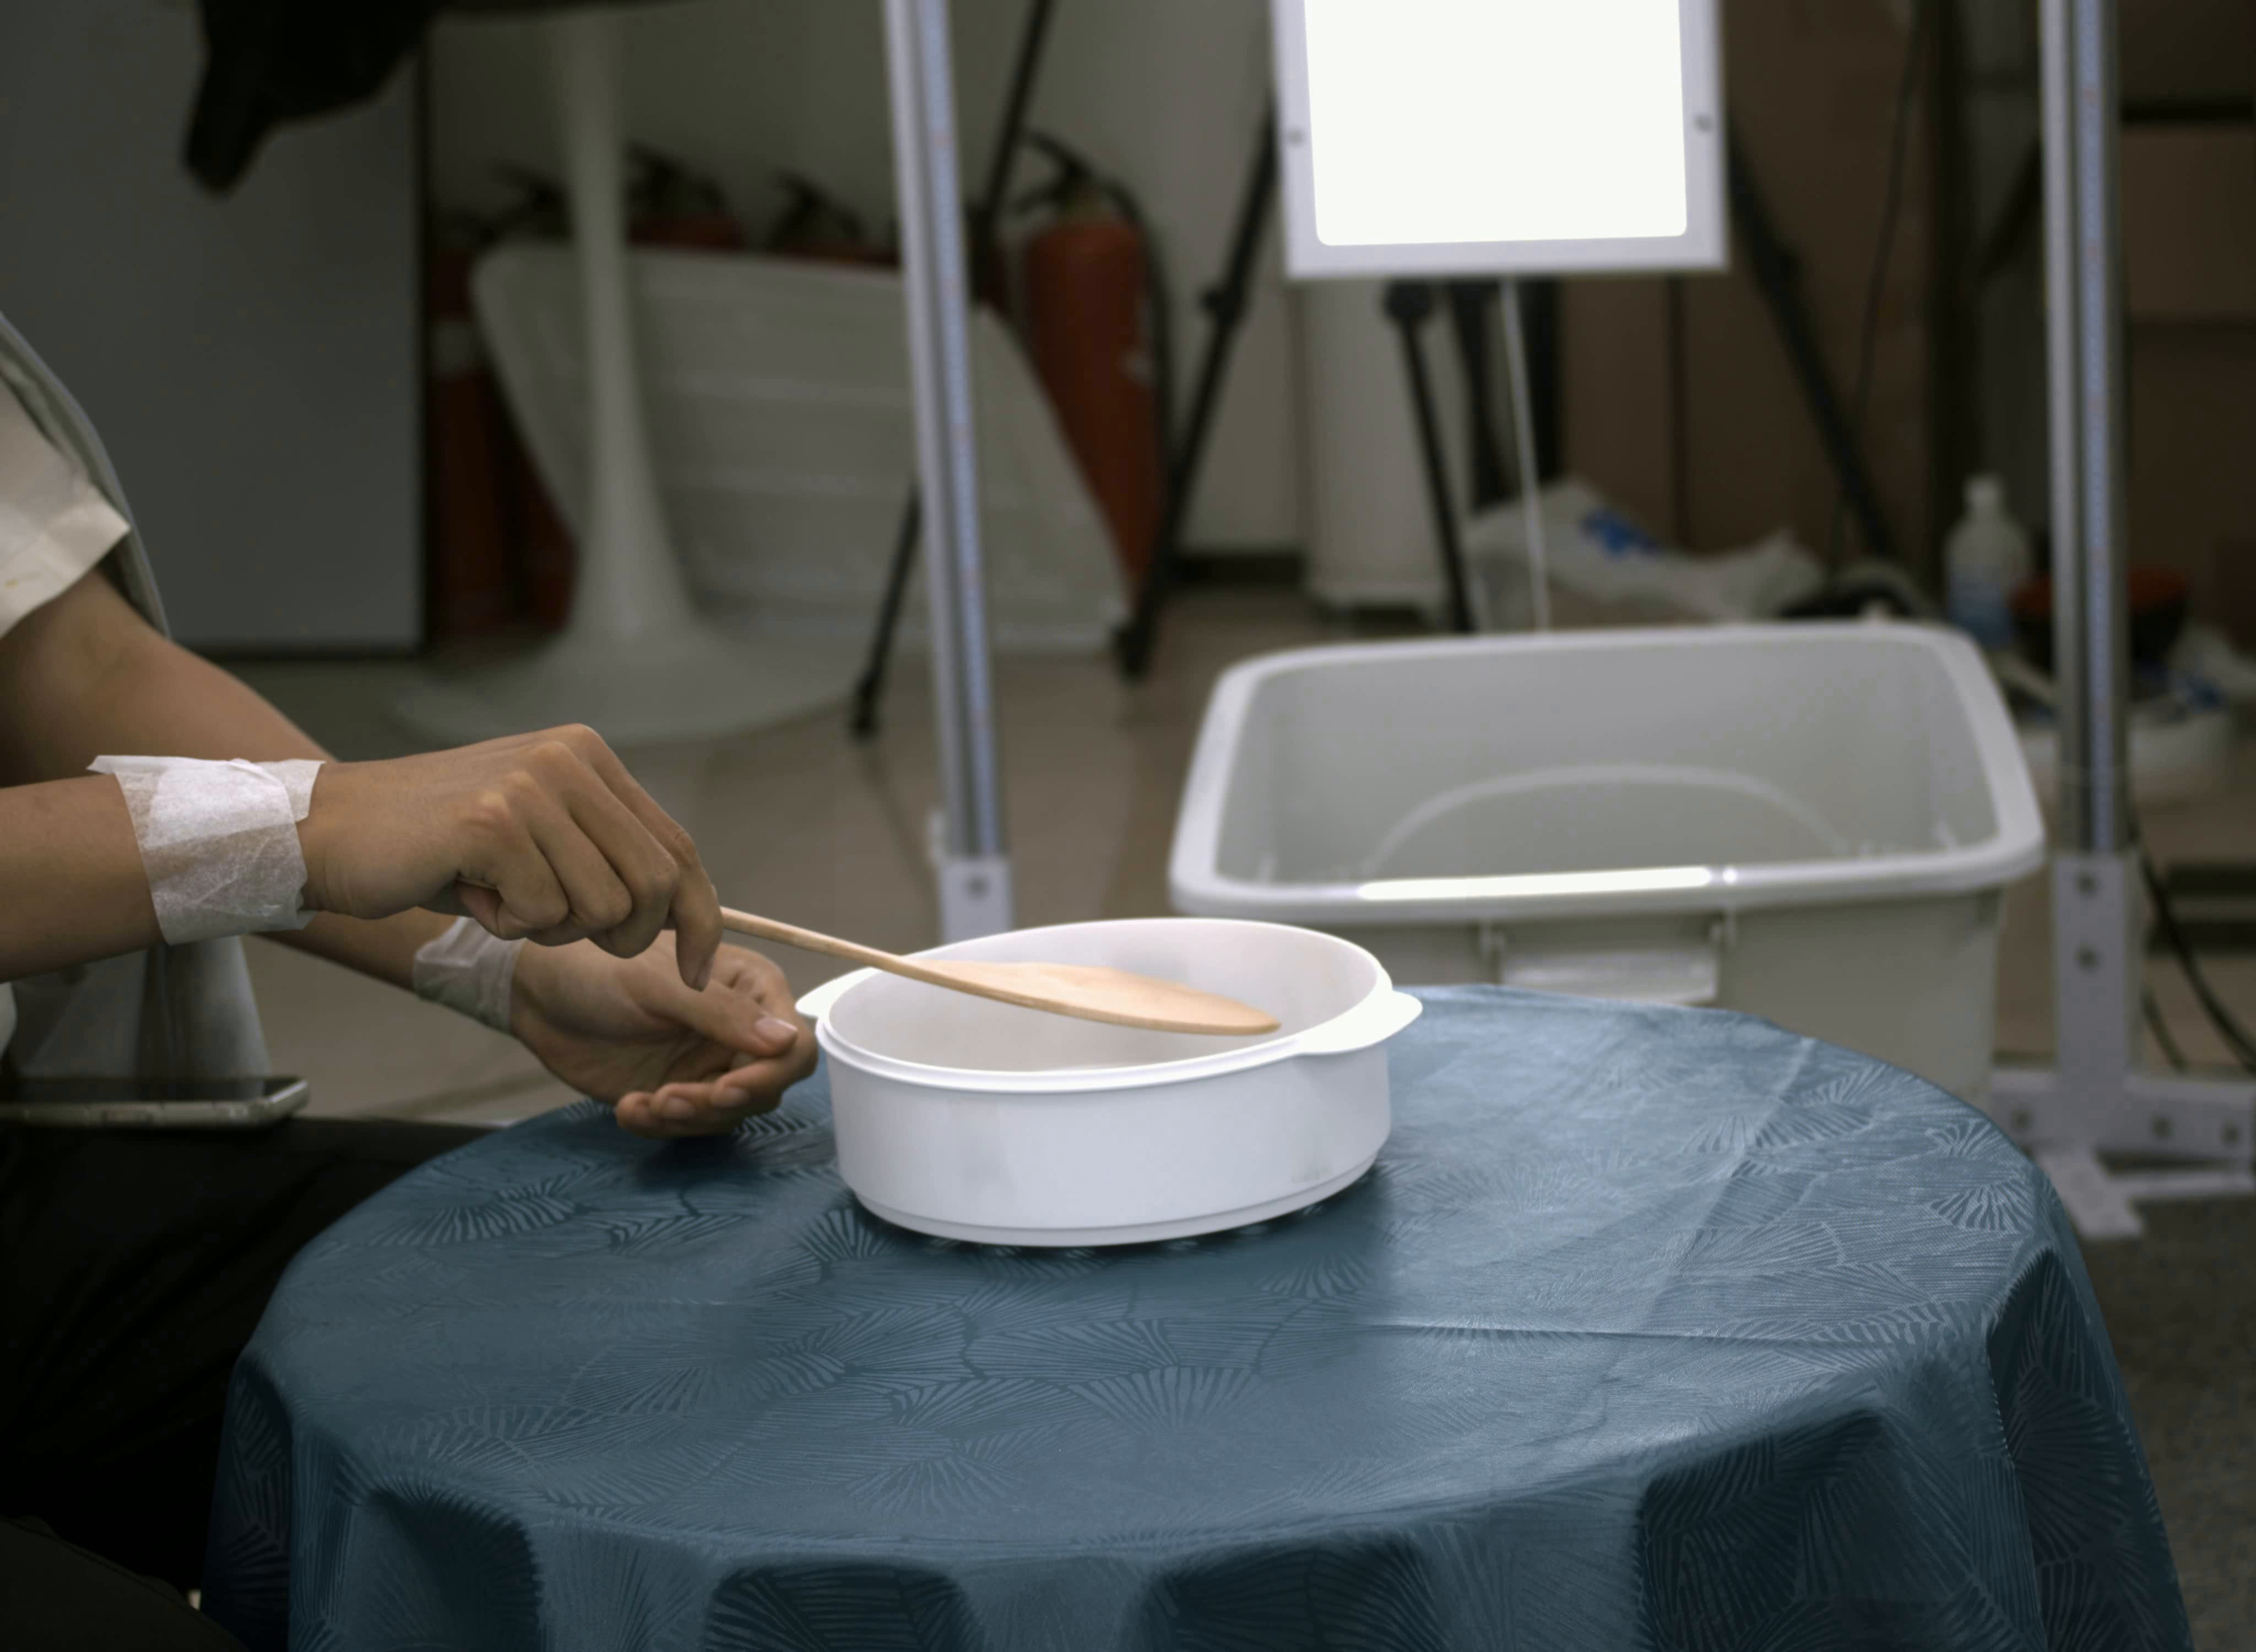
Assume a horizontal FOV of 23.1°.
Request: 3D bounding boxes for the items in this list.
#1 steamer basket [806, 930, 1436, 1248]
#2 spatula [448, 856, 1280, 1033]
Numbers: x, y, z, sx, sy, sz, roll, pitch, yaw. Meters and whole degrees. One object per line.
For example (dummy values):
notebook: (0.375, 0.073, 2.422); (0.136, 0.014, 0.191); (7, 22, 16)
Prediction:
steamer basket: (-0.002, 0.091, 1.906); (0.235, 0.069, 0.197); (2, 14, 30)
spatula: (-0.091, 0.039, 1.868); (0.320, 0.016, 0.081); (13, 5, -37)
